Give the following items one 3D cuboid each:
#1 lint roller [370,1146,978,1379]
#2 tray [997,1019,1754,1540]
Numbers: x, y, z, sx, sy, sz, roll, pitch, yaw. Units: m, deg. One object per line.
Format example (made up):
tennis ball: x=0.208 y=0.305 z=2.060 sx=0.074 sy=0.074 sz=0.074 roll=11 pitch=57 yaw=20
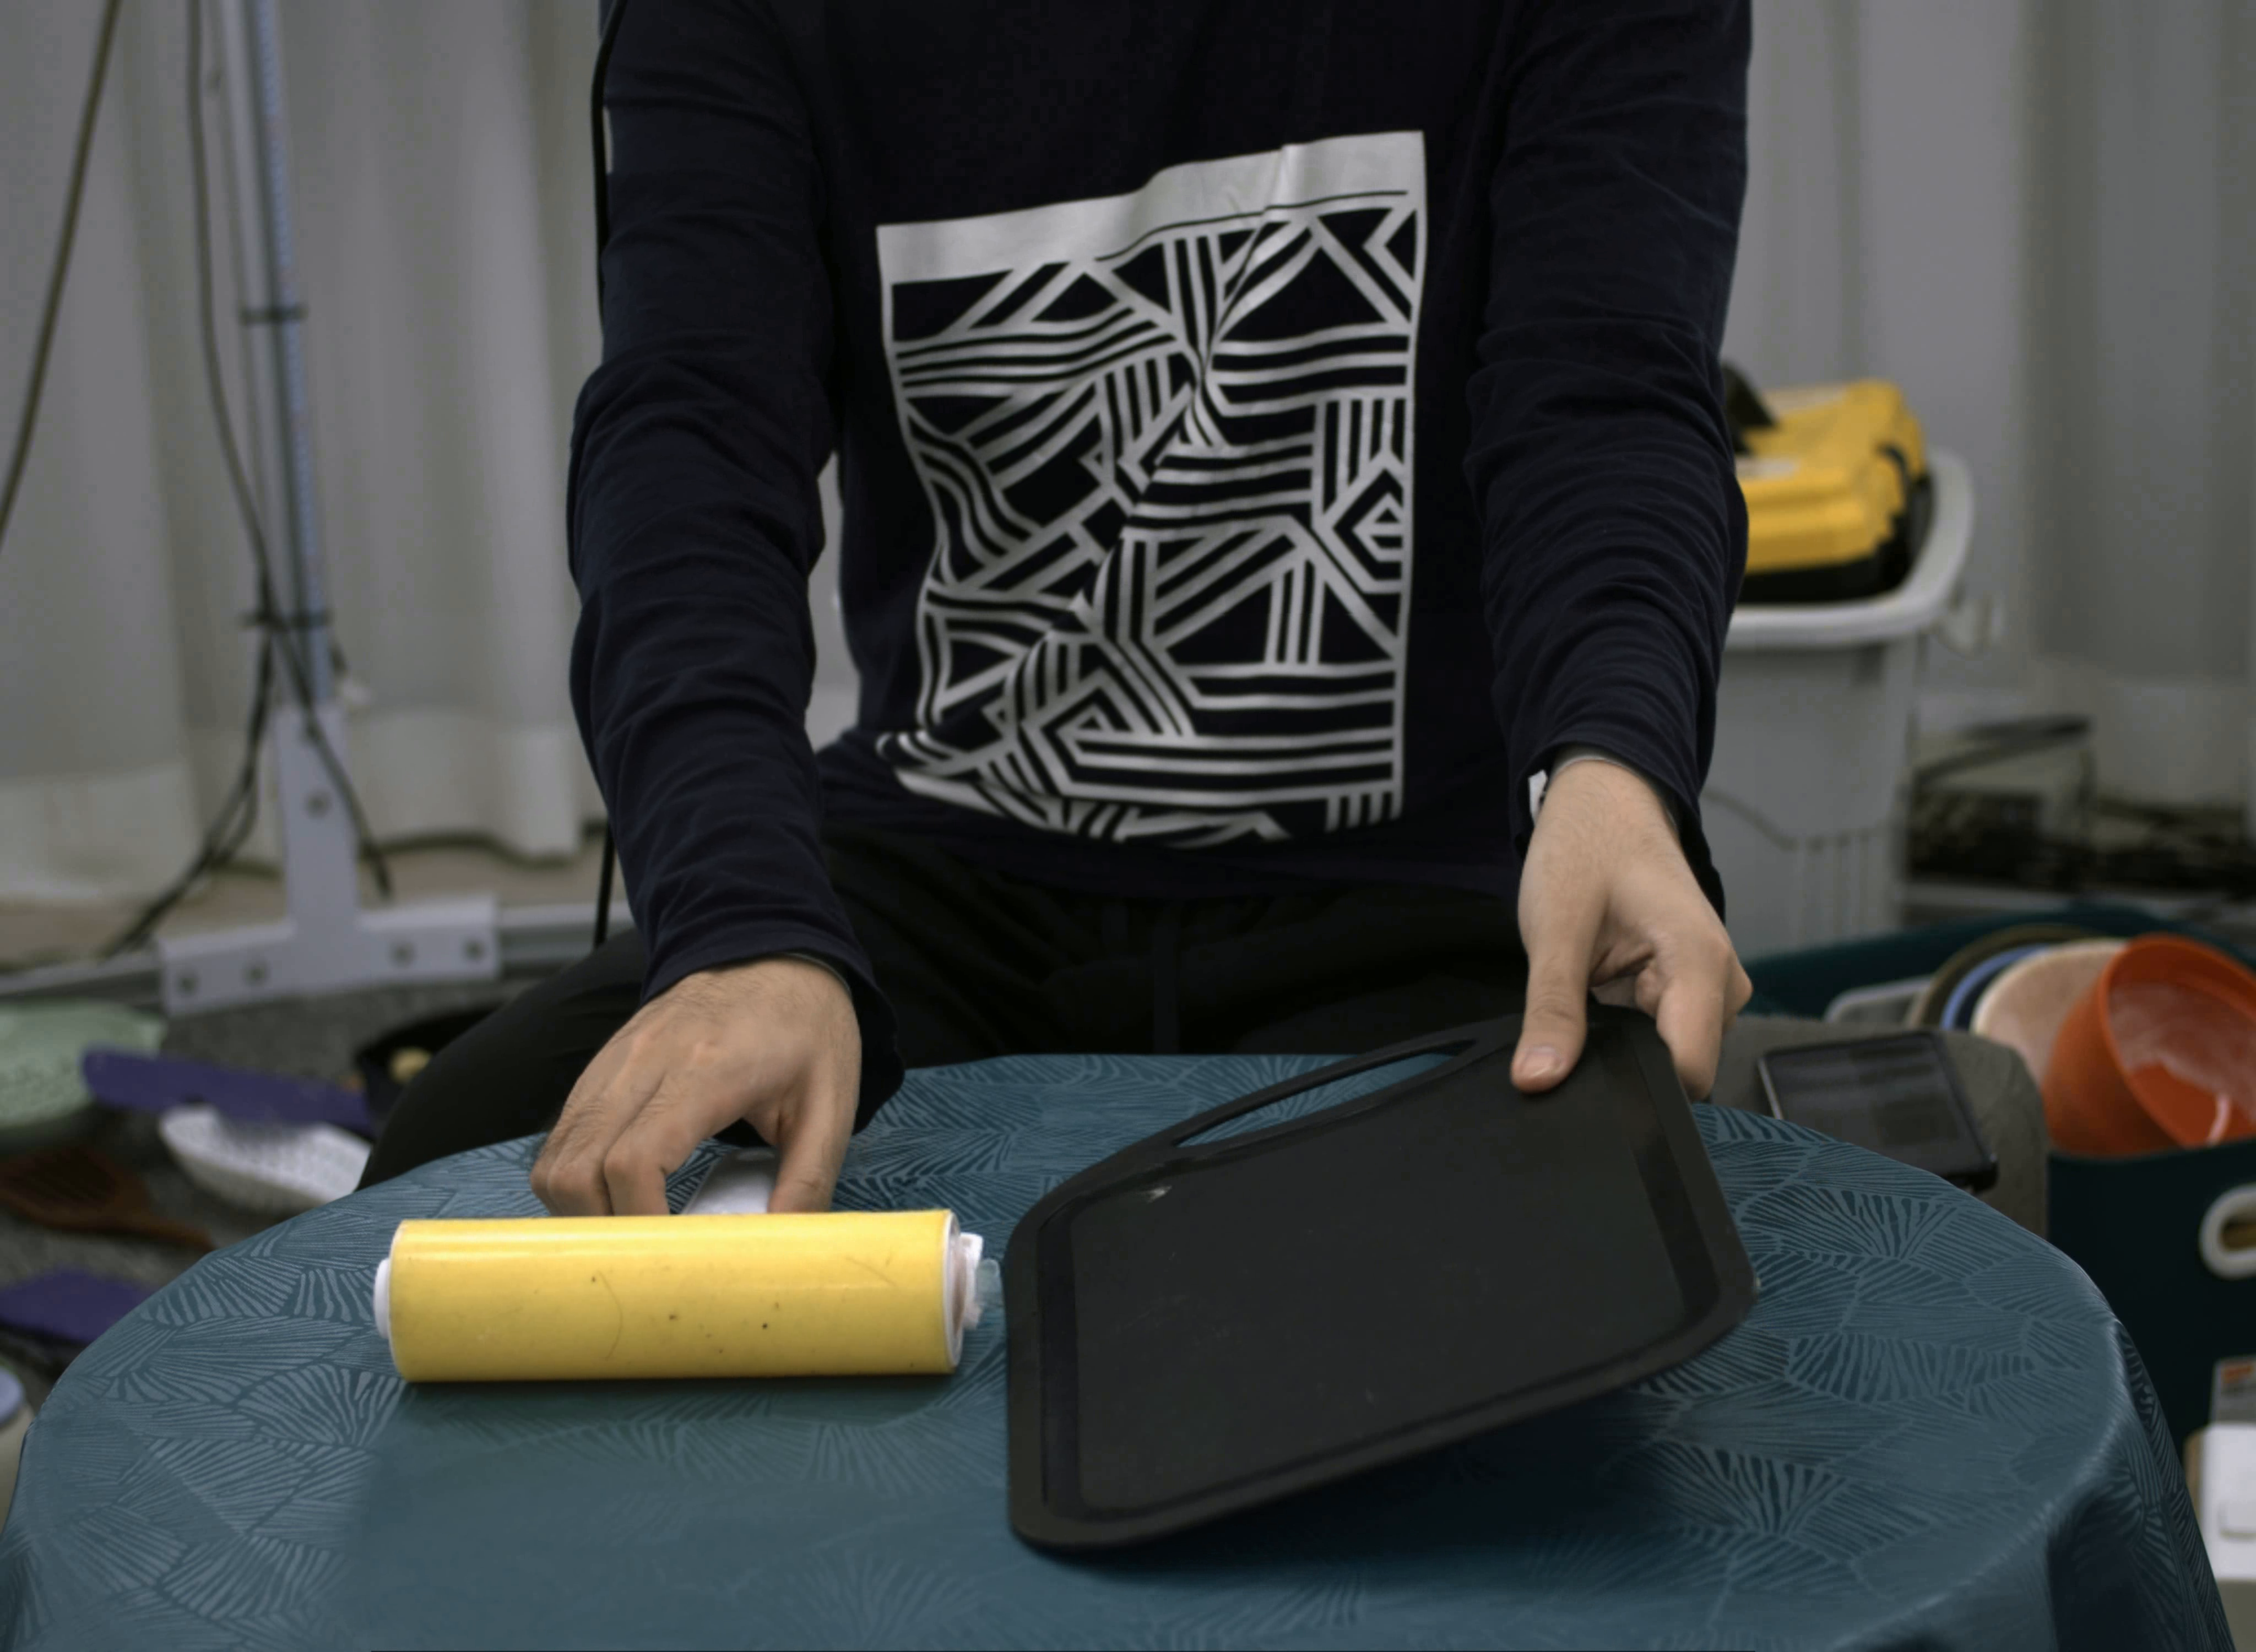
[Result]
lint roller: x=-0.127 y=0.116 z=1.641 sx=0.174 sy=0.051 sz=0.193 roll=-1 pitch=18 yaw=3
tray: x=0.062 y=0.121 z=1.564 sx=0.210 sy=0.010 sz=0.328 roll=-17 pitch=15 yaw=3
